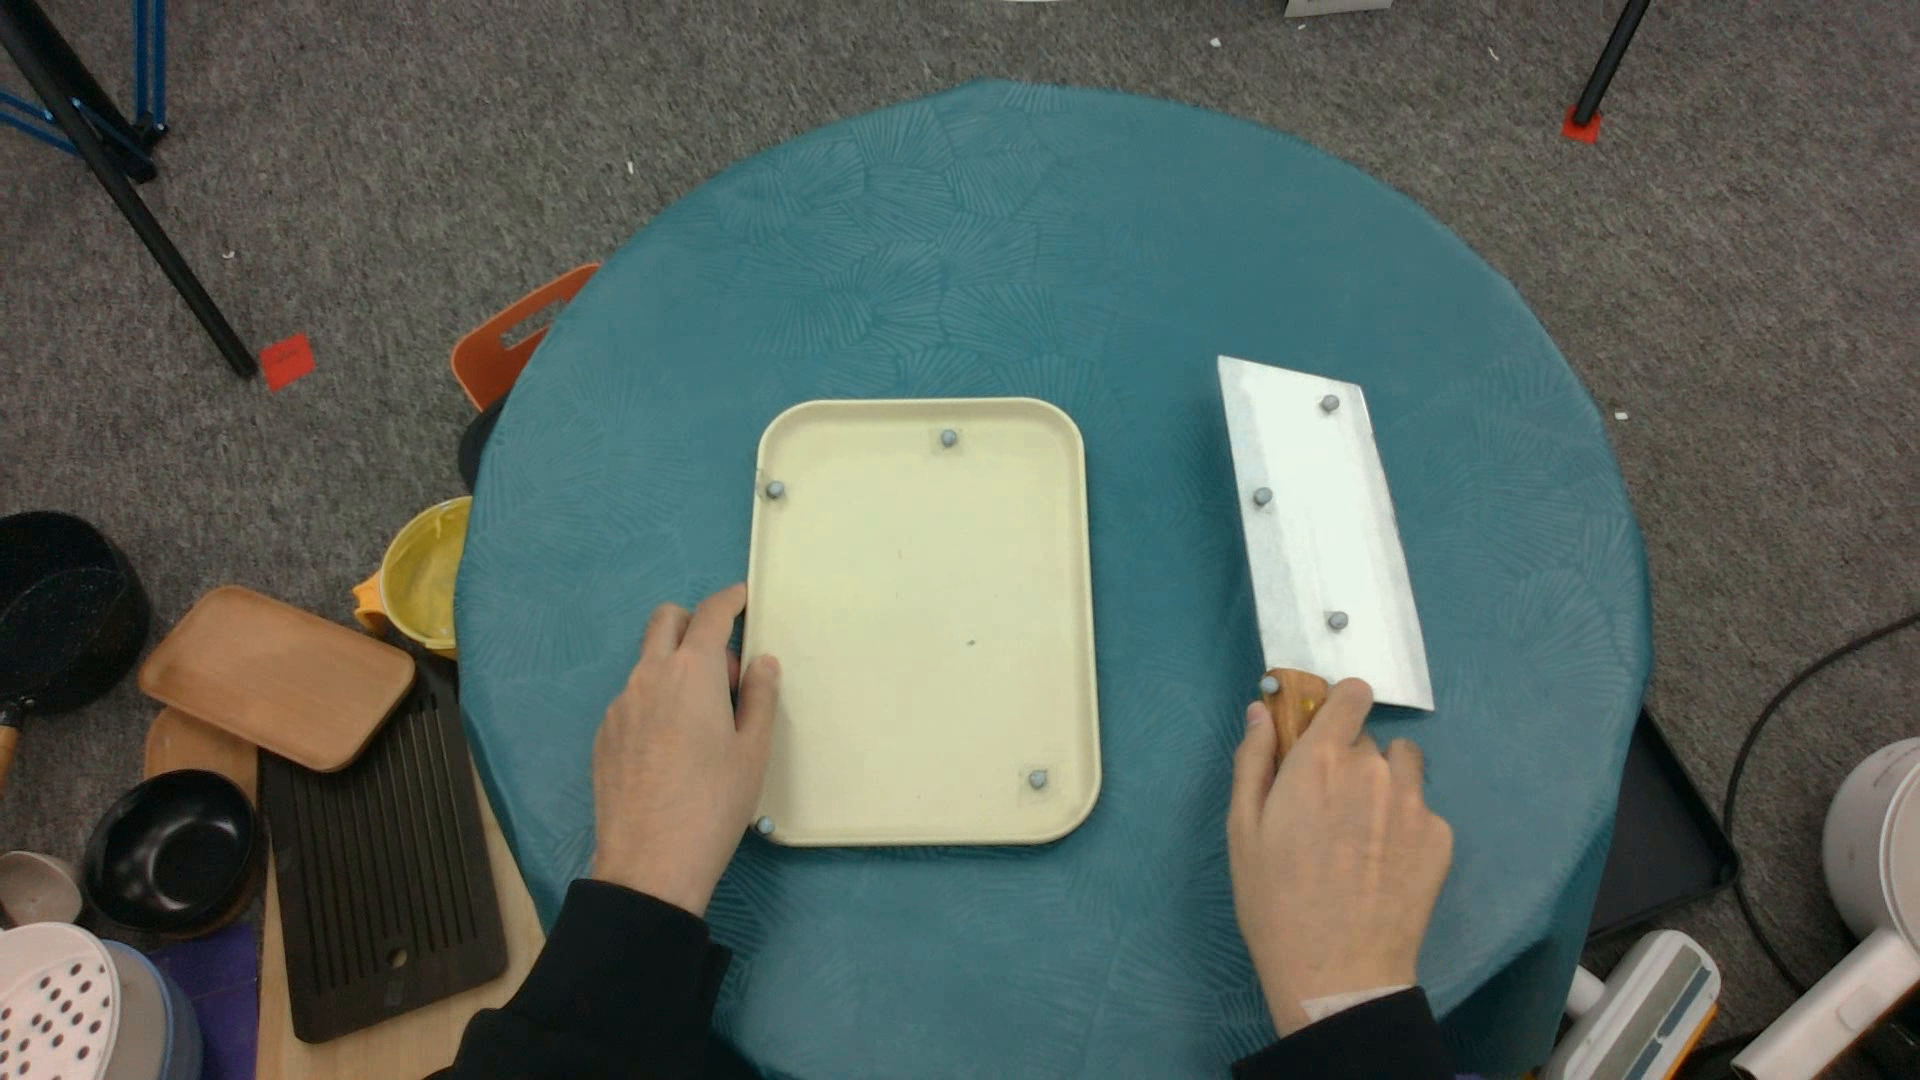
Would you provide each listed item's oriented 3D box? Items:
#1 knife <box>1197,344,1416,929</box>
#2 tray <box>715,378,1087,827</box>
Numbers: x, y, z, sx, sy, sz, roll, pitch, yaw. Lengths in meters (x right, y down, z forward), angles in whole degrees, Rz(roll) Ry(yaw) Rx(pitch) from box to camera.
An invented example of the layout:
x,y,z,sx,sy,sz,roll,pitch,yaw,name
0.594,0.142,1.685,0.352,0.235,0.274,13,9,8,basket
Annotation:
x,y,z,sx,sy,sz,roll,pitch,yaw,name
0.172,0.032,0.653,0.093,0.021,0.307,9,57,-20,knife
-0.028,0.024,0.673,0.171,0.017,0.240,0,61,-1,tray
